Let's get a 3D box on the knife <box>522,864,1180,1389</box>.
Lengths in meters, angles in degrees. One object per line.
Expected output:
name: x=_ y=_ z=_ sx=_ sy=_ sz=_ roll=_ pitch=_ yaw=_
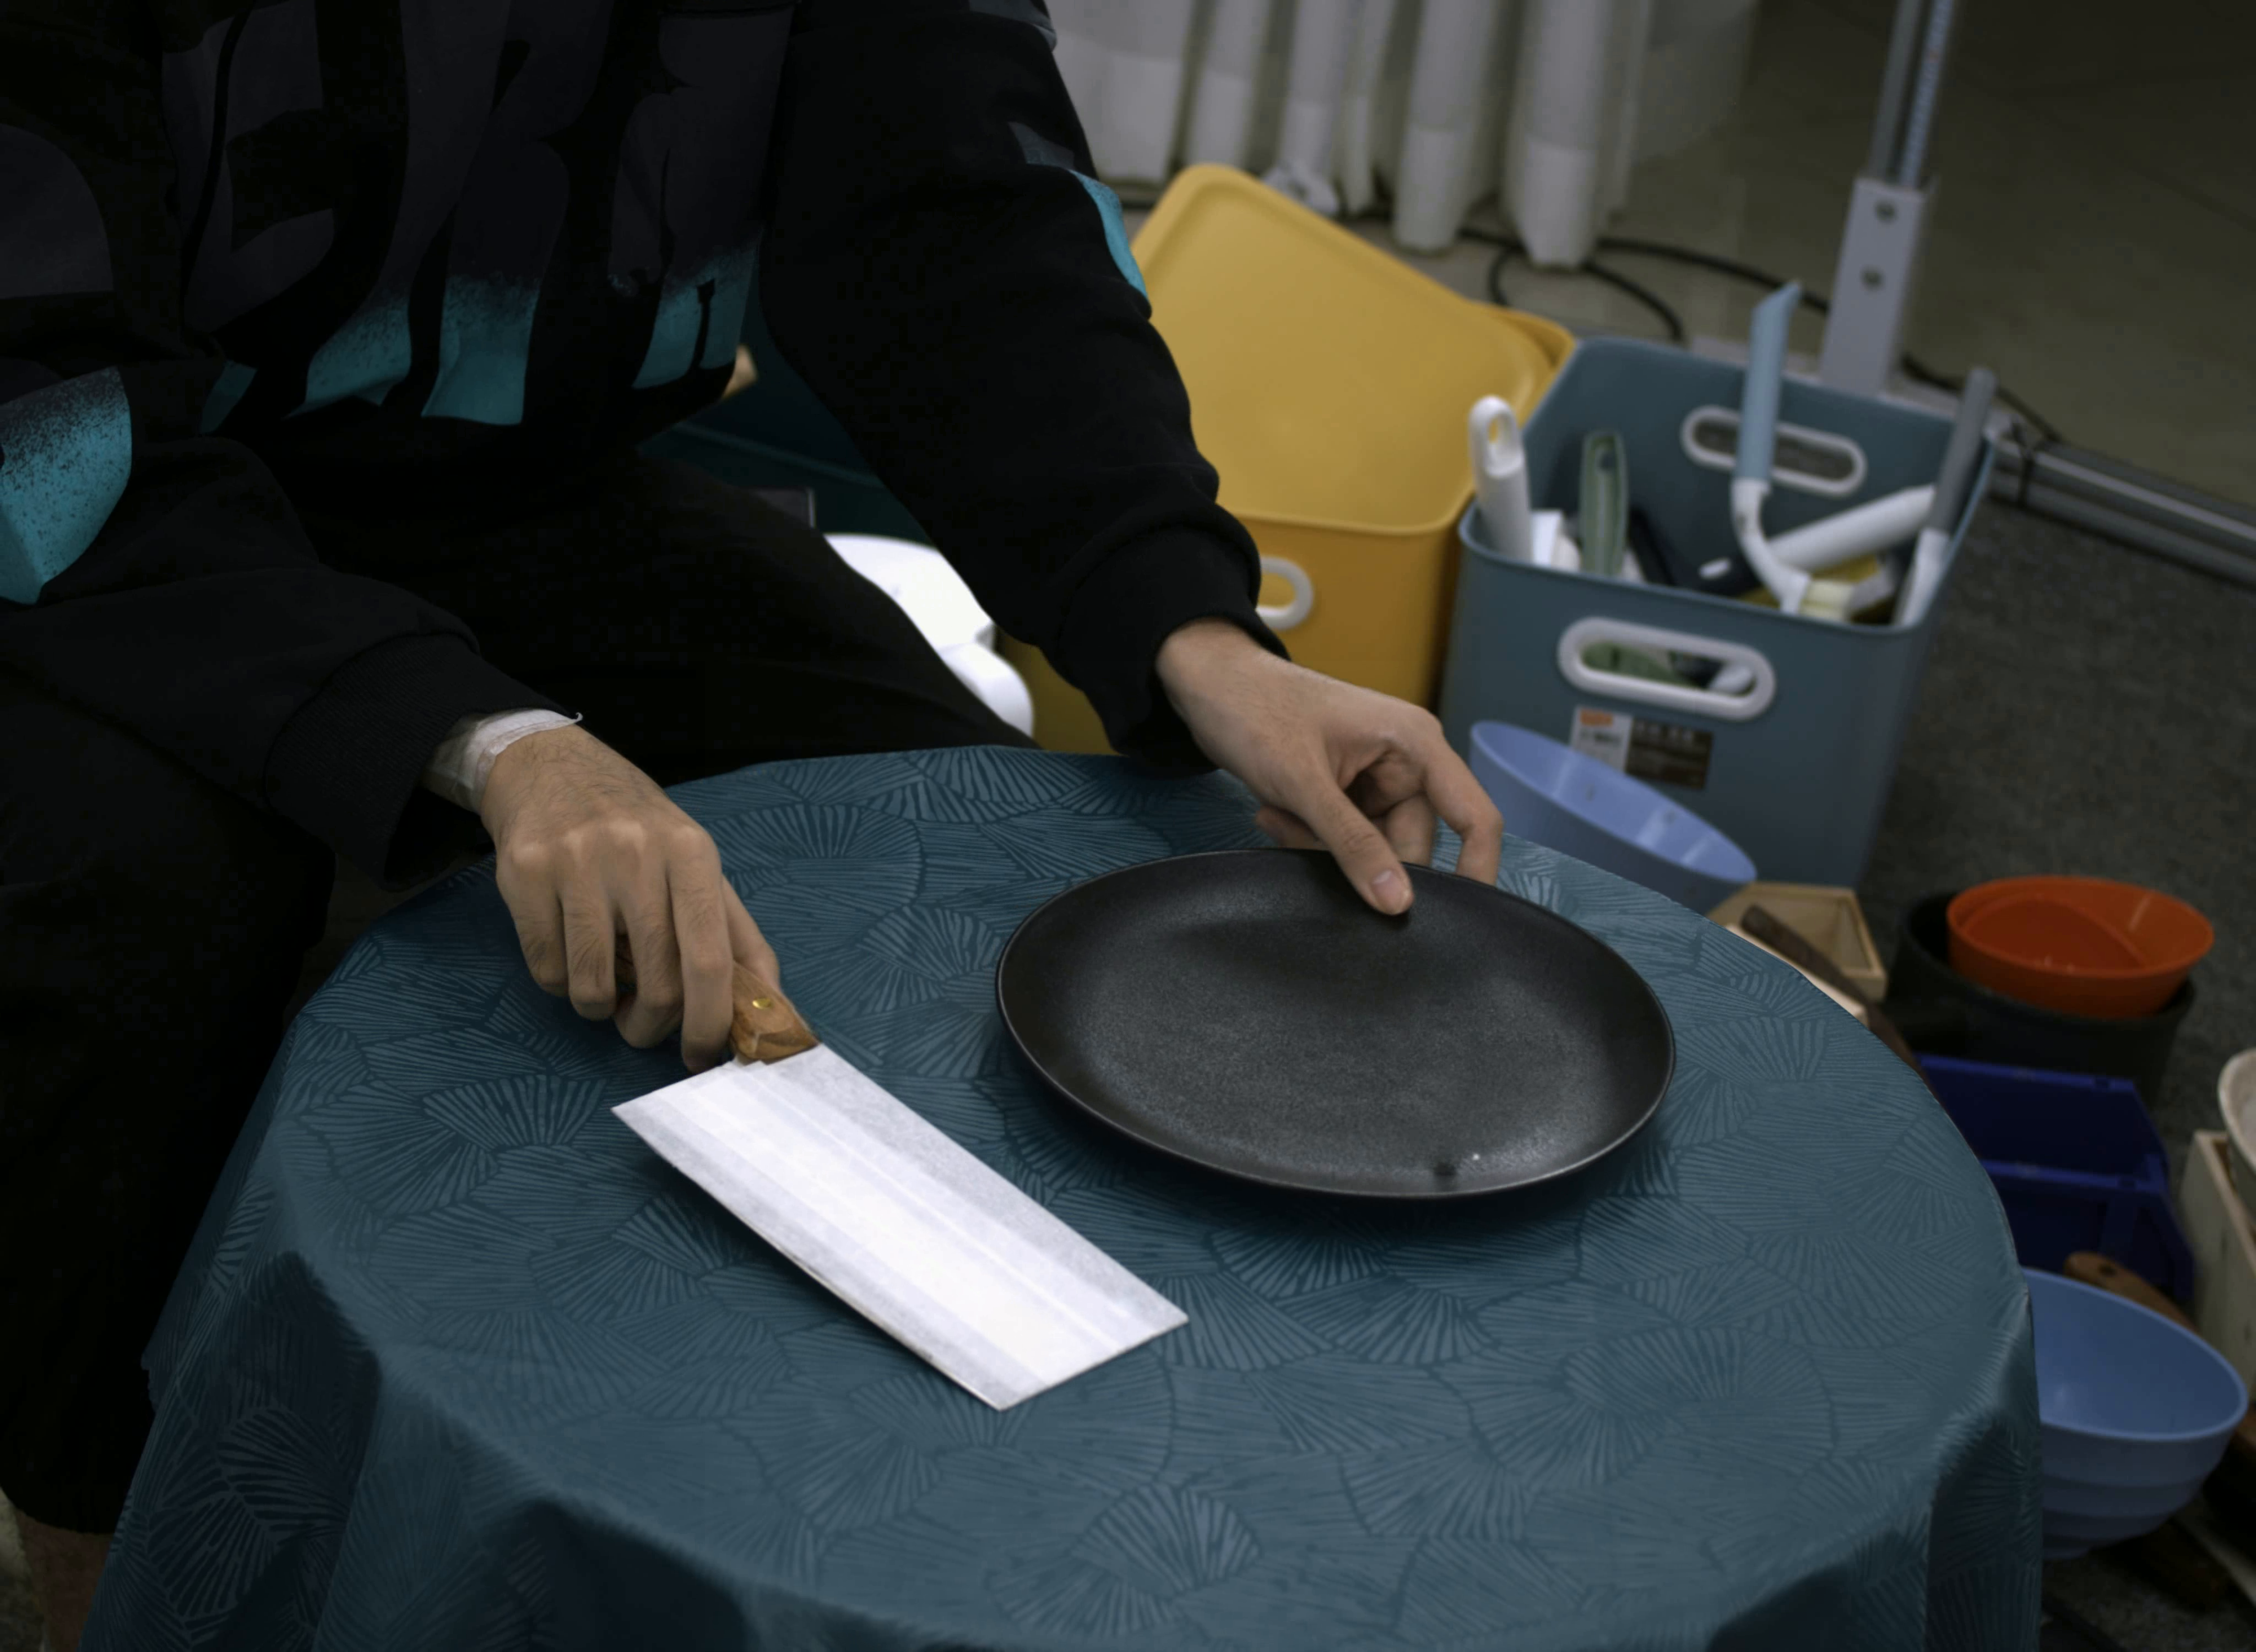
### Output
knife: x=-0.115 y=0.100 z=1.786 sx=0.092 sy=0.021 sz=0.308 roll=-21 pitch=43 yaw=-42

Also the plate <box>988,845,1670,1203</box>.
plate: x=0.071 y=0.074 z=1.886 sx=0.243 sy=0.023 sz=0.246 roll=5 pitch=28 yaw=-3
